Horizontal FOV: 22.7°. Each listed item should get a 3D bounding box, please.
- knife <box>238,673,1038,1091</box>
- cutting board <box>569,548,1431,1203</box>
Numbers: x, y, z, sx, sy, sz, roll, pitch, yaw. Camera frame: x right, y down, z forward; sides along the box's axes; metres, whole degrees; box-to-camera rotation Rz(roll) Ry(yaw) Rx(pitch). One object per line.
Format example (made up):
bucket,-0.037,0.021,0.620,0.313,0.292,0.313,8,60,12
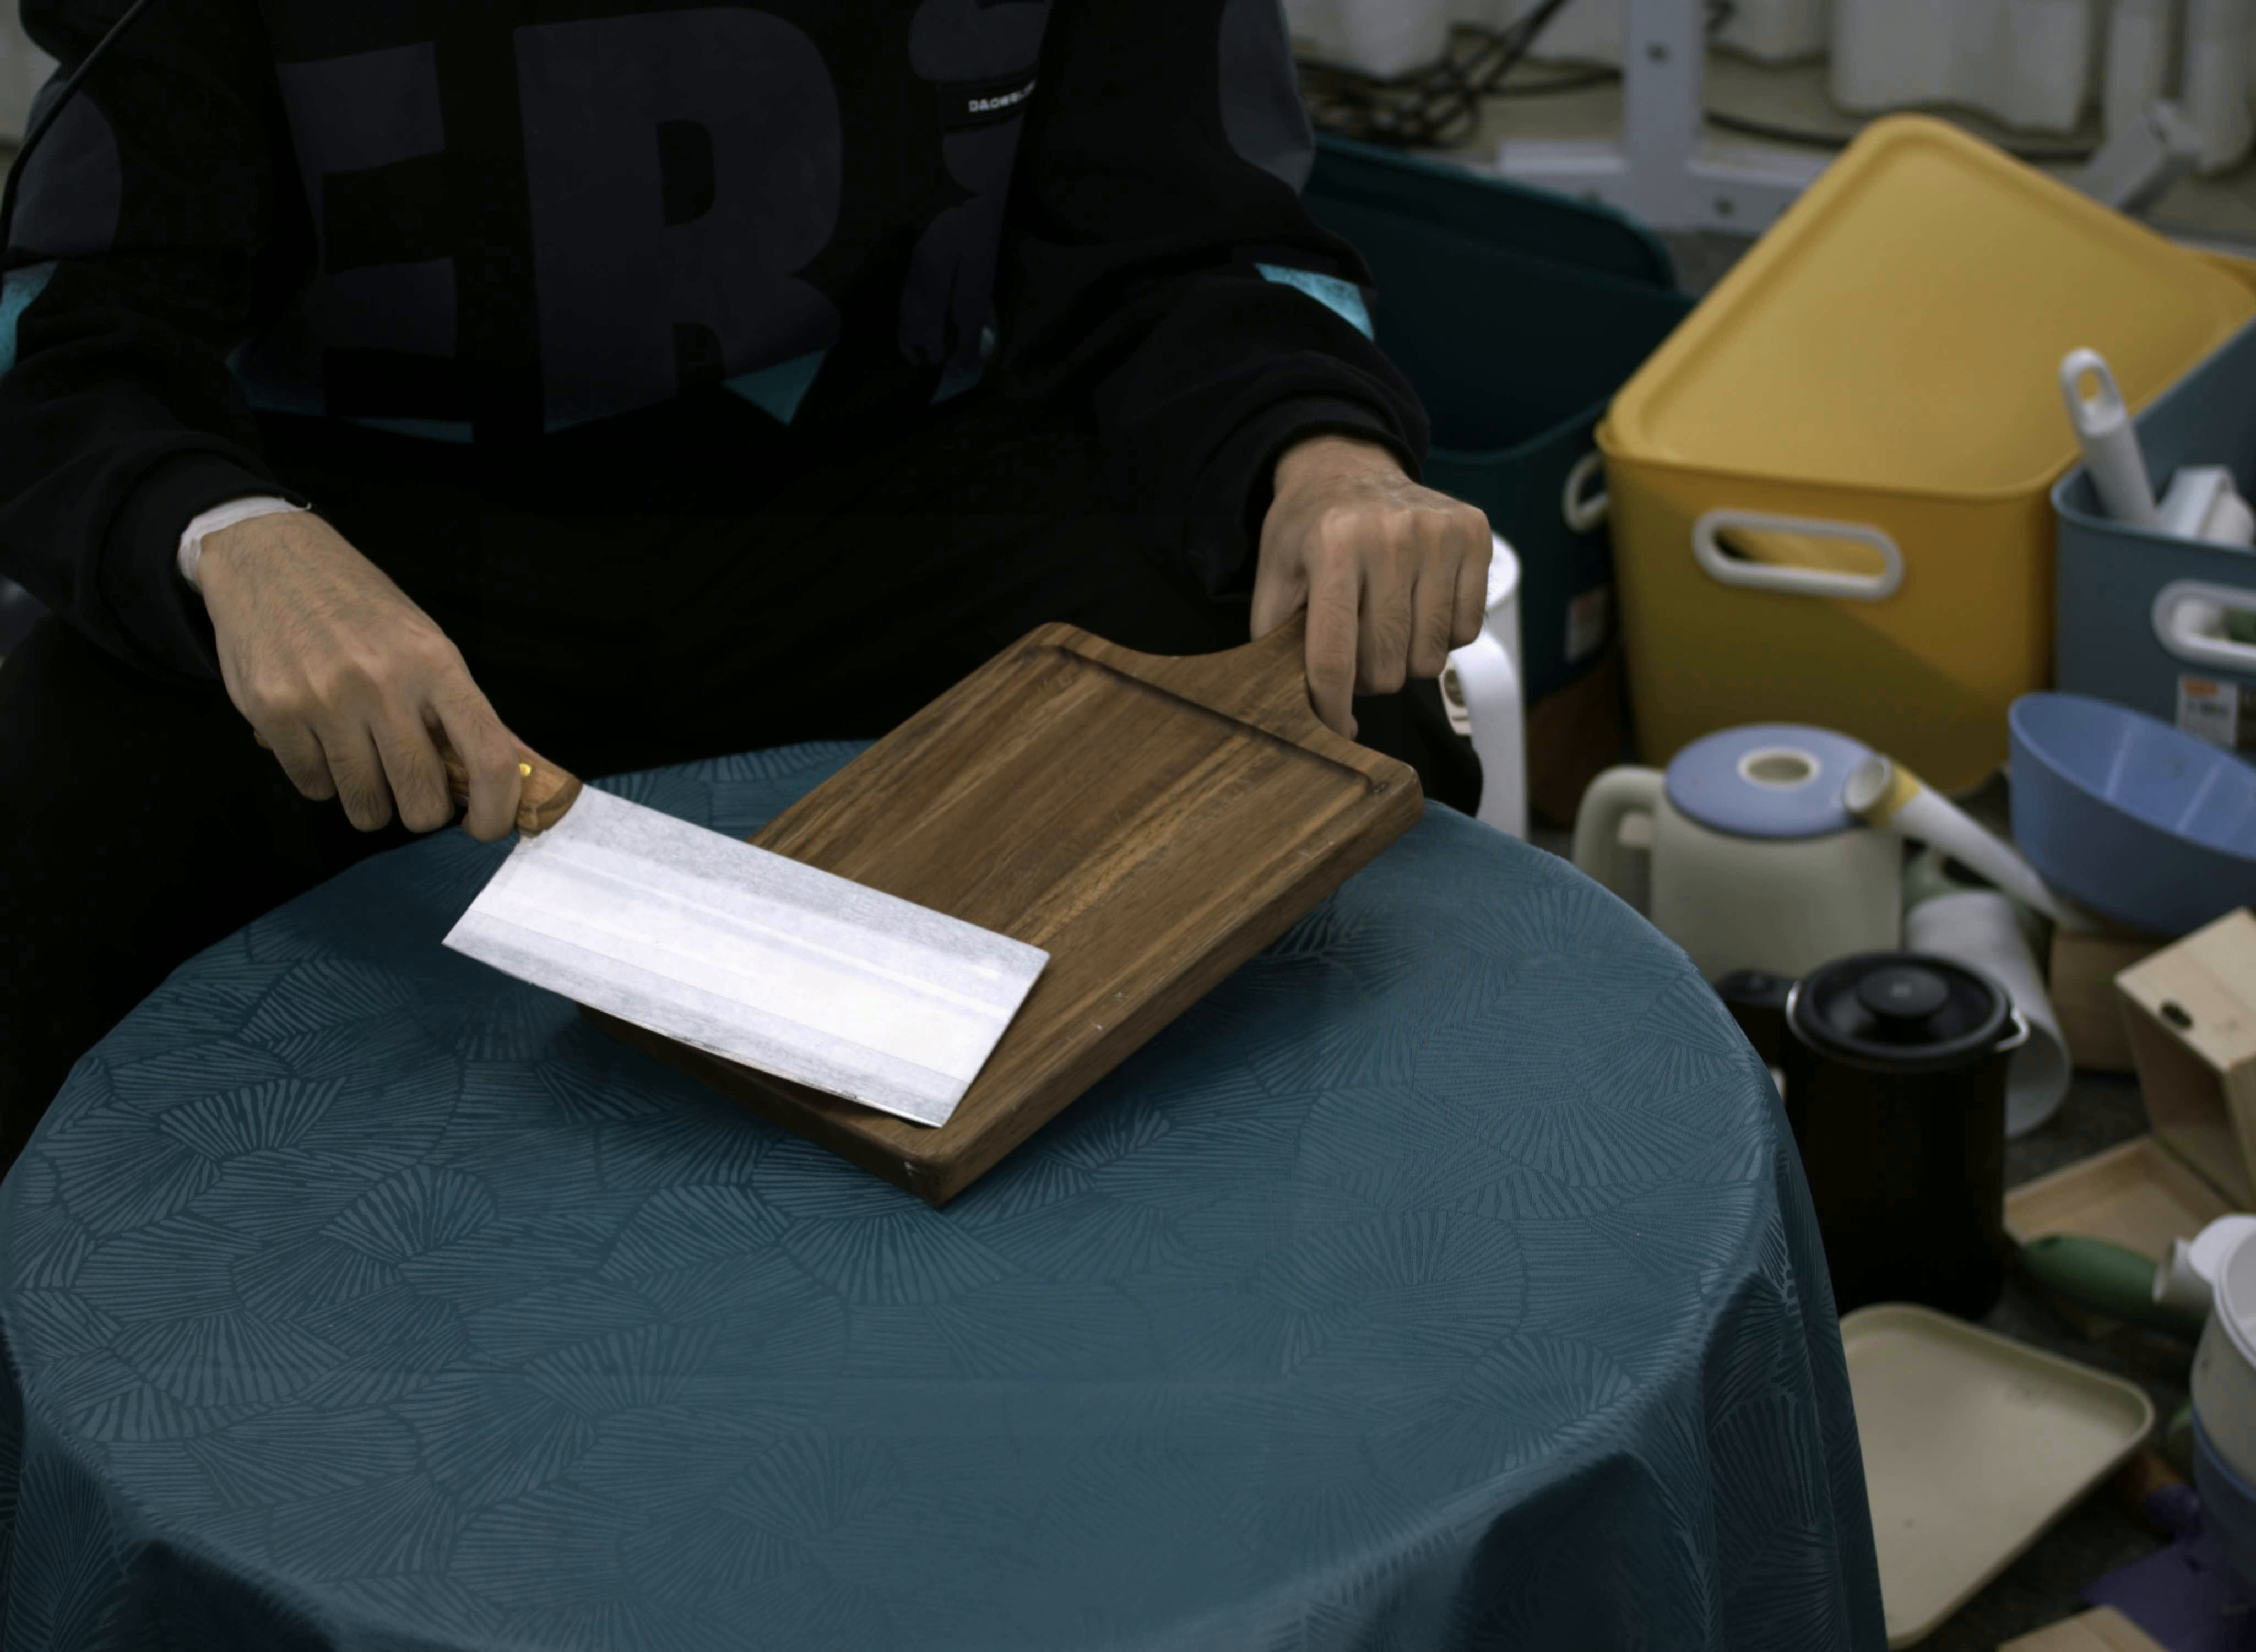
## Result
knife,-0.182,0.023,1.936,0.304,0.020,0.095,19,47,15
cutting board,-0.012,-0.001,2.005,0.200,0.023,0.357,22,48,40
